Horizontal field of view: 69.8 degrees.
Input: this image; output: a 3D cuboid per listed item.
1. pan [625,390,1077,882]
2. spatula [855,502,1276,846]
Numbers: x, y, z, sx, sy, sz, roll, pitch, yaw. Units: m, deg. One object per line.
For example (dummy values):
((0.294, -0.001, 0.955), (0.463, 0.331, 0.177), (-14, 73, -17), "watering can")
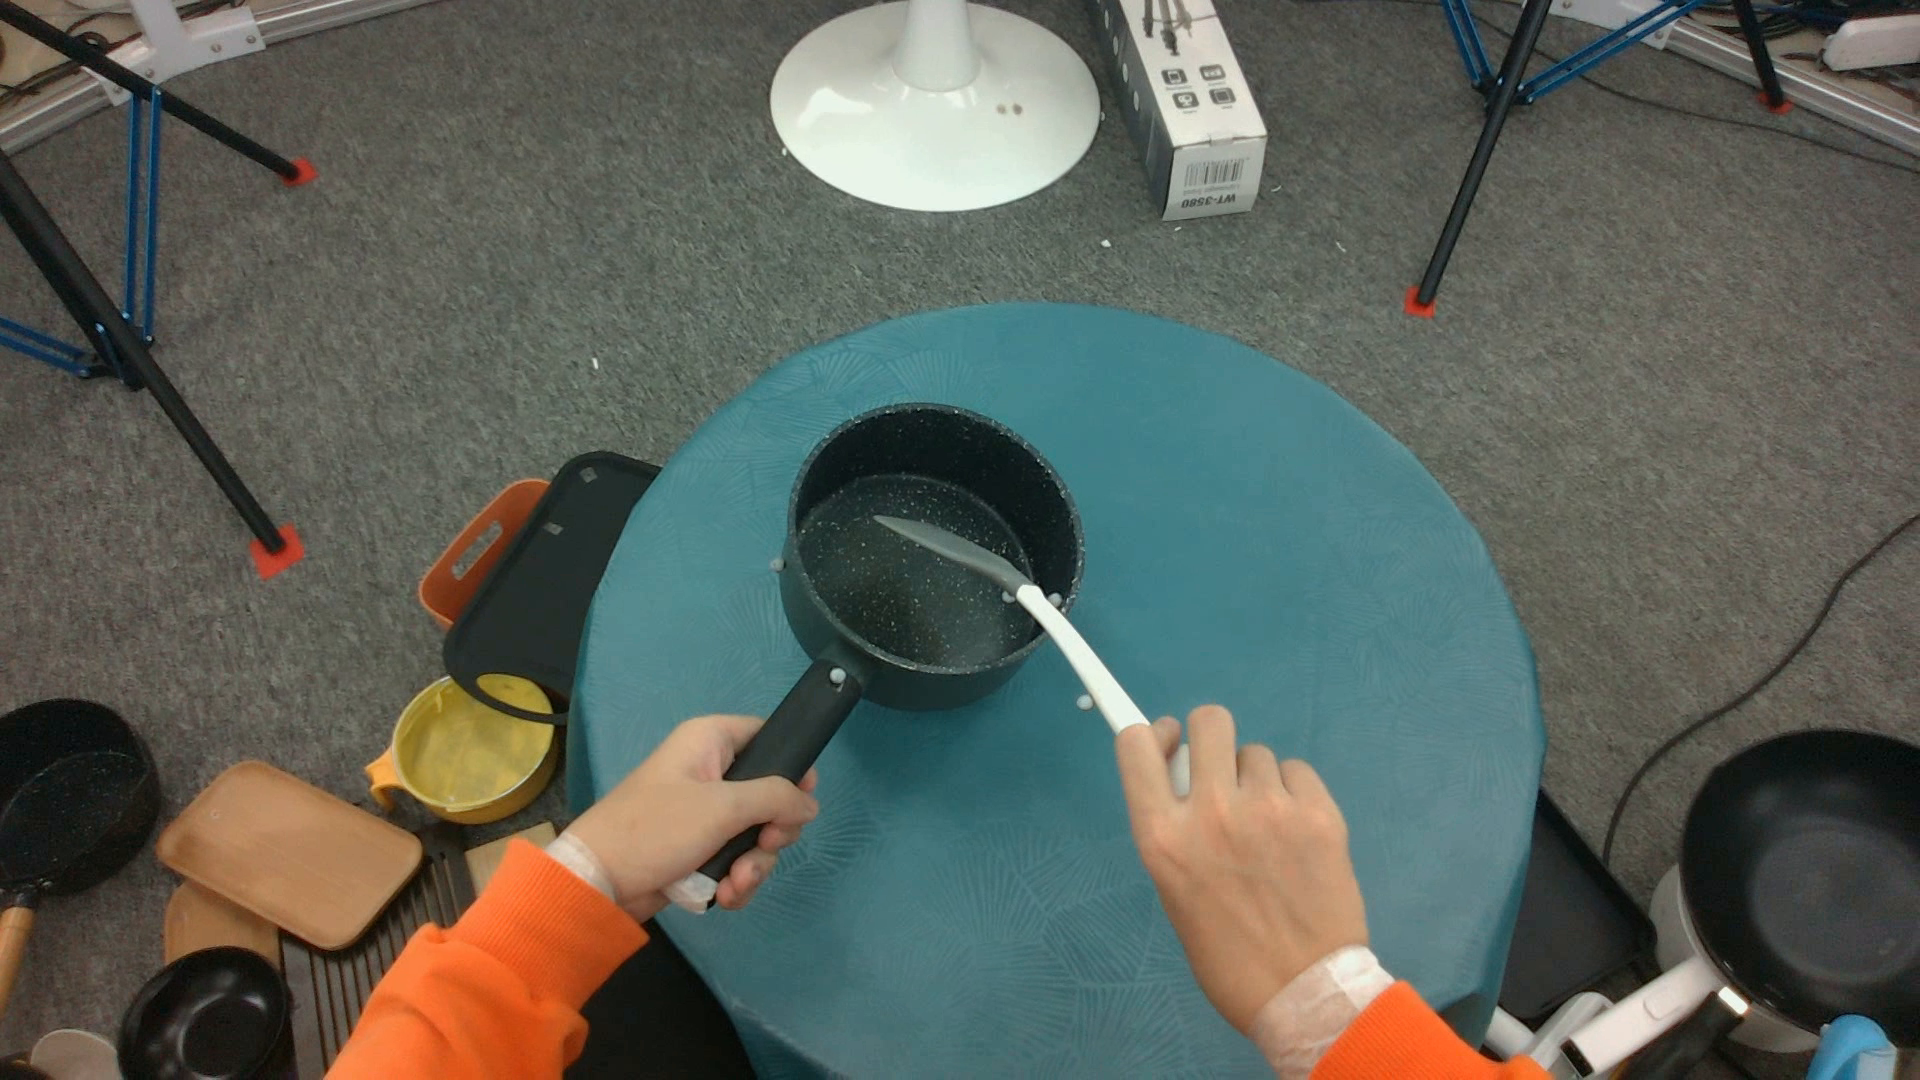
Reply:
((-0.065, 0.058, 0.752), (0.172, 0.086, 0.330), (34, 57, 5), "pan")
((0.045, 0.049, 0.697), (0.059, 0.032, 0.288), (5, 28, -45), "spatula")
